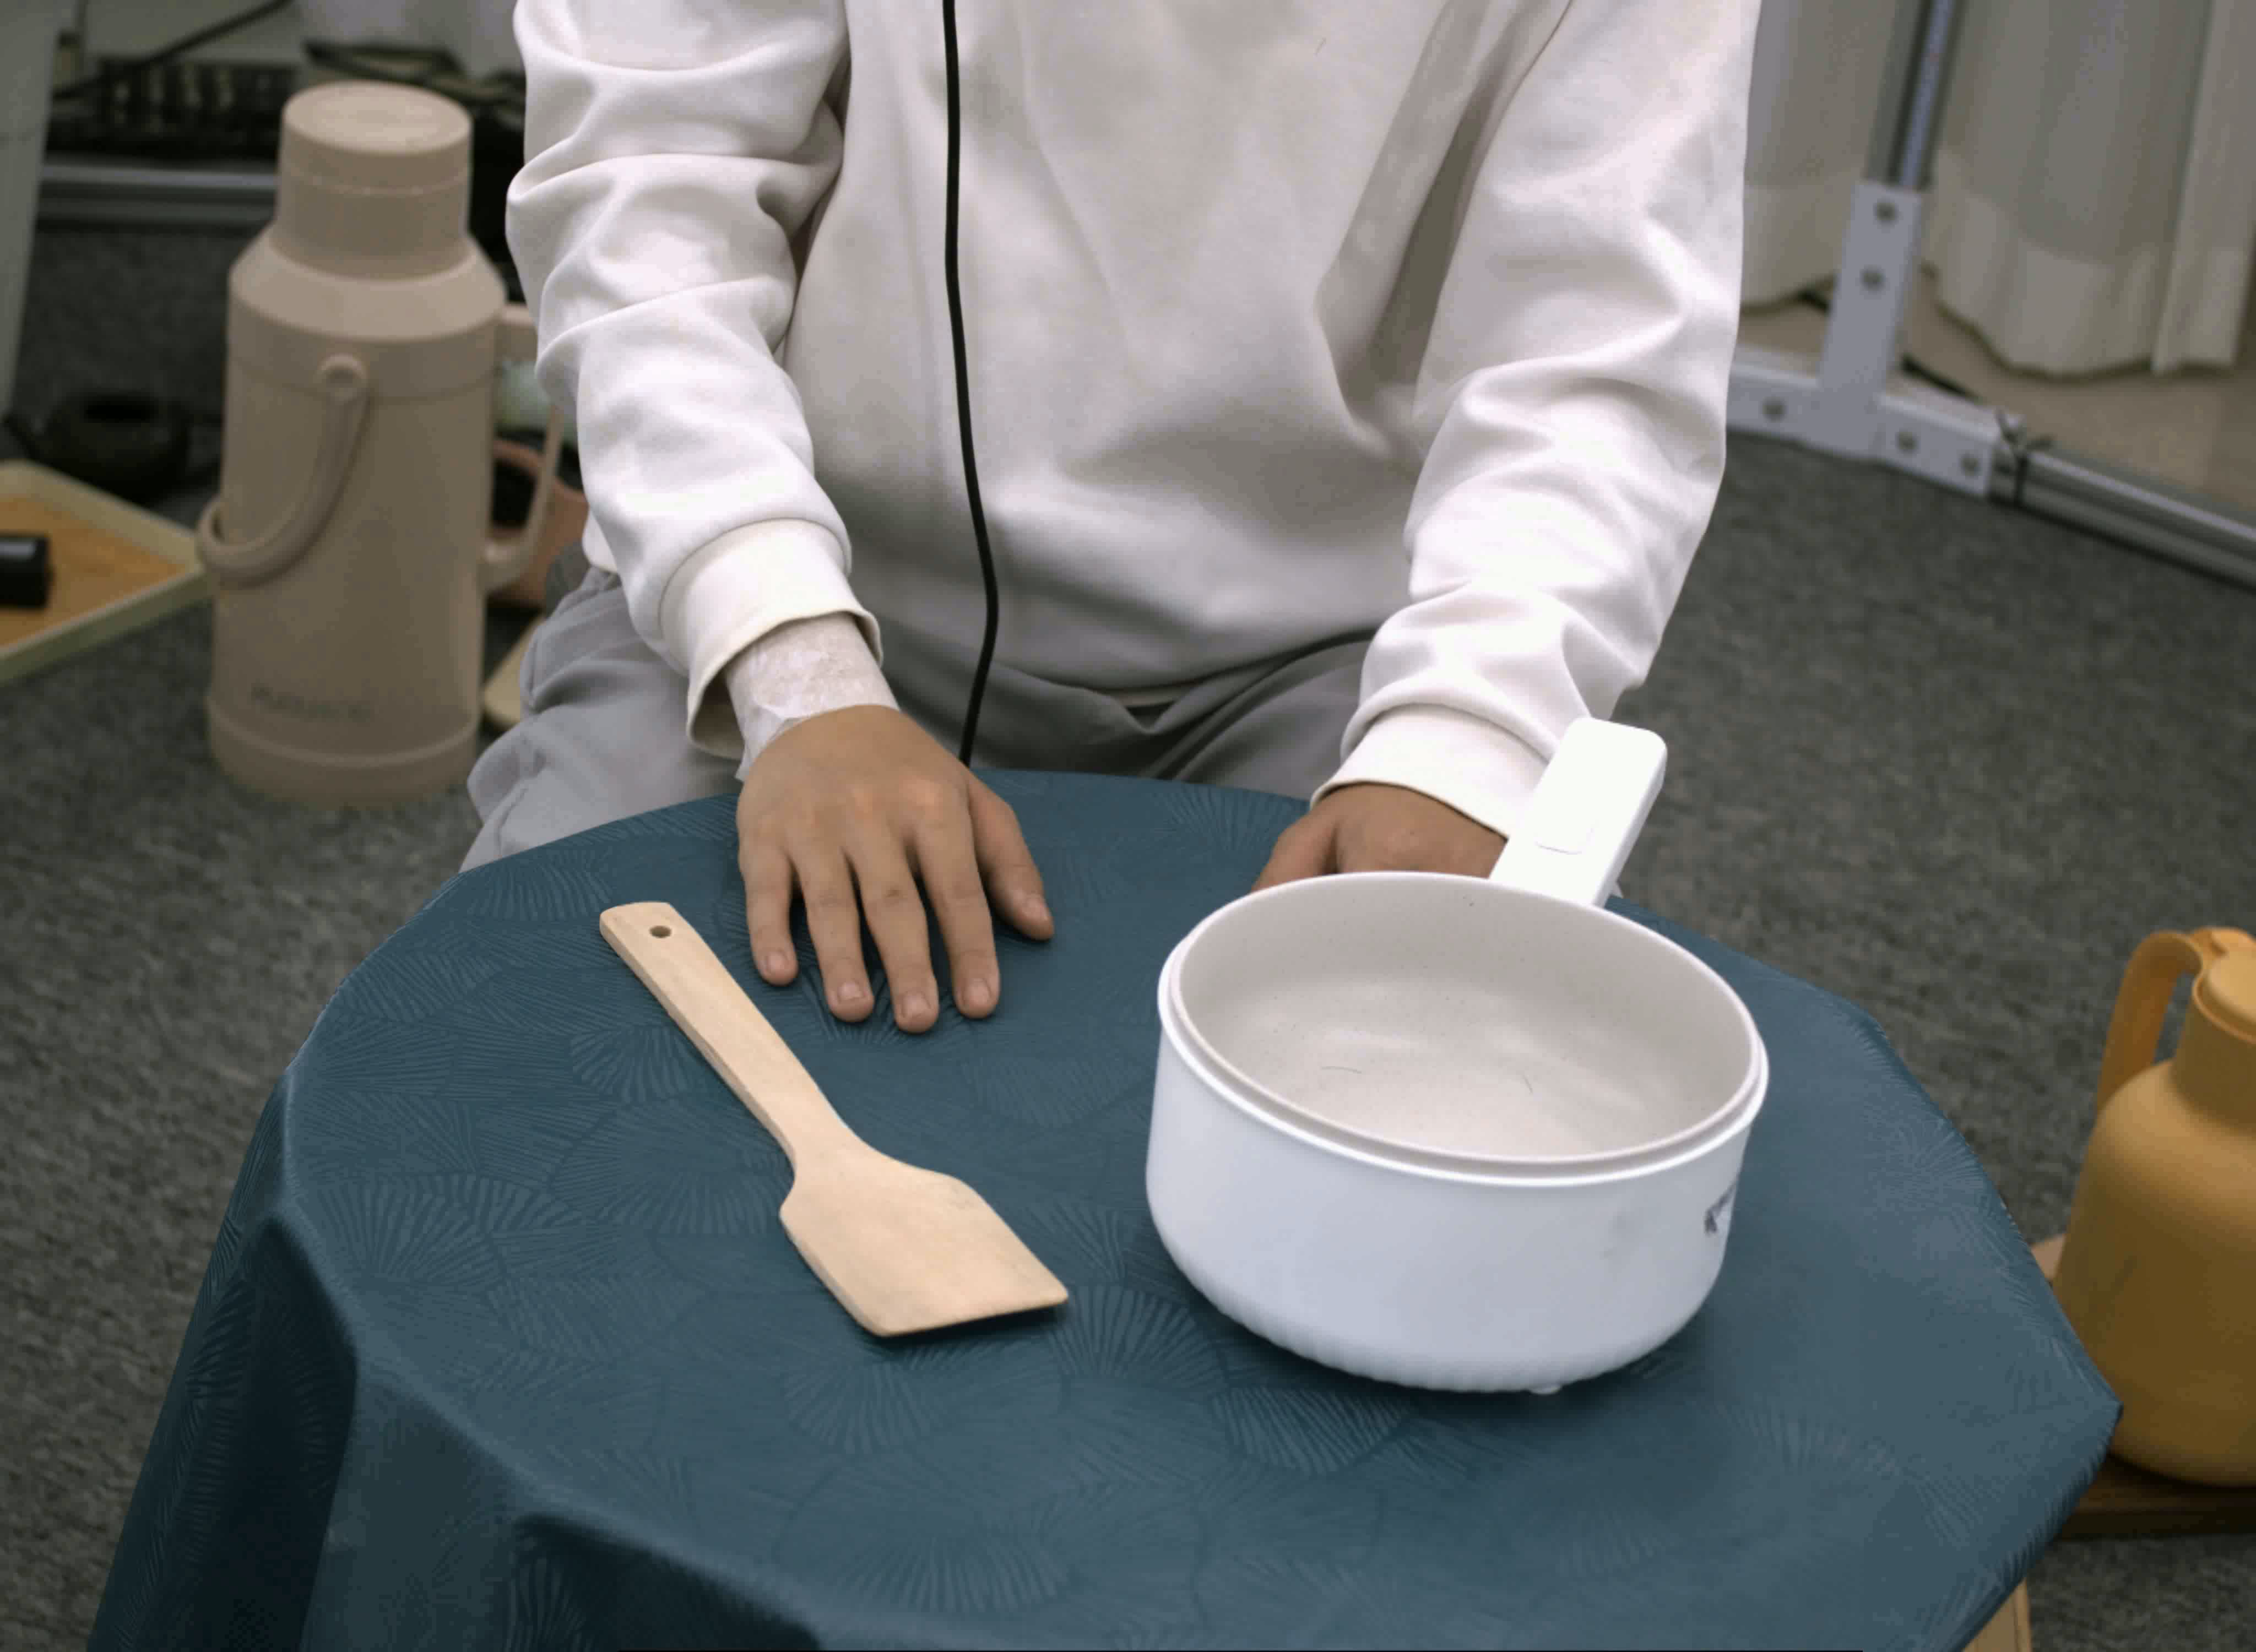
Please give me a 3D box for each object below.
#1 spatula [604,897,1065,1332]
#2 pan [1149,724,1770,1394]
[{"bbox_3d":[-0.116,0.094,1.827,0.072,0.010,0.296,-9,31,-26],"label":"spatula"},{"bbox_3d":[0.127,0.075,1.825,0.201,0.102,0.355,12,26,12],"label":"pan"}]
